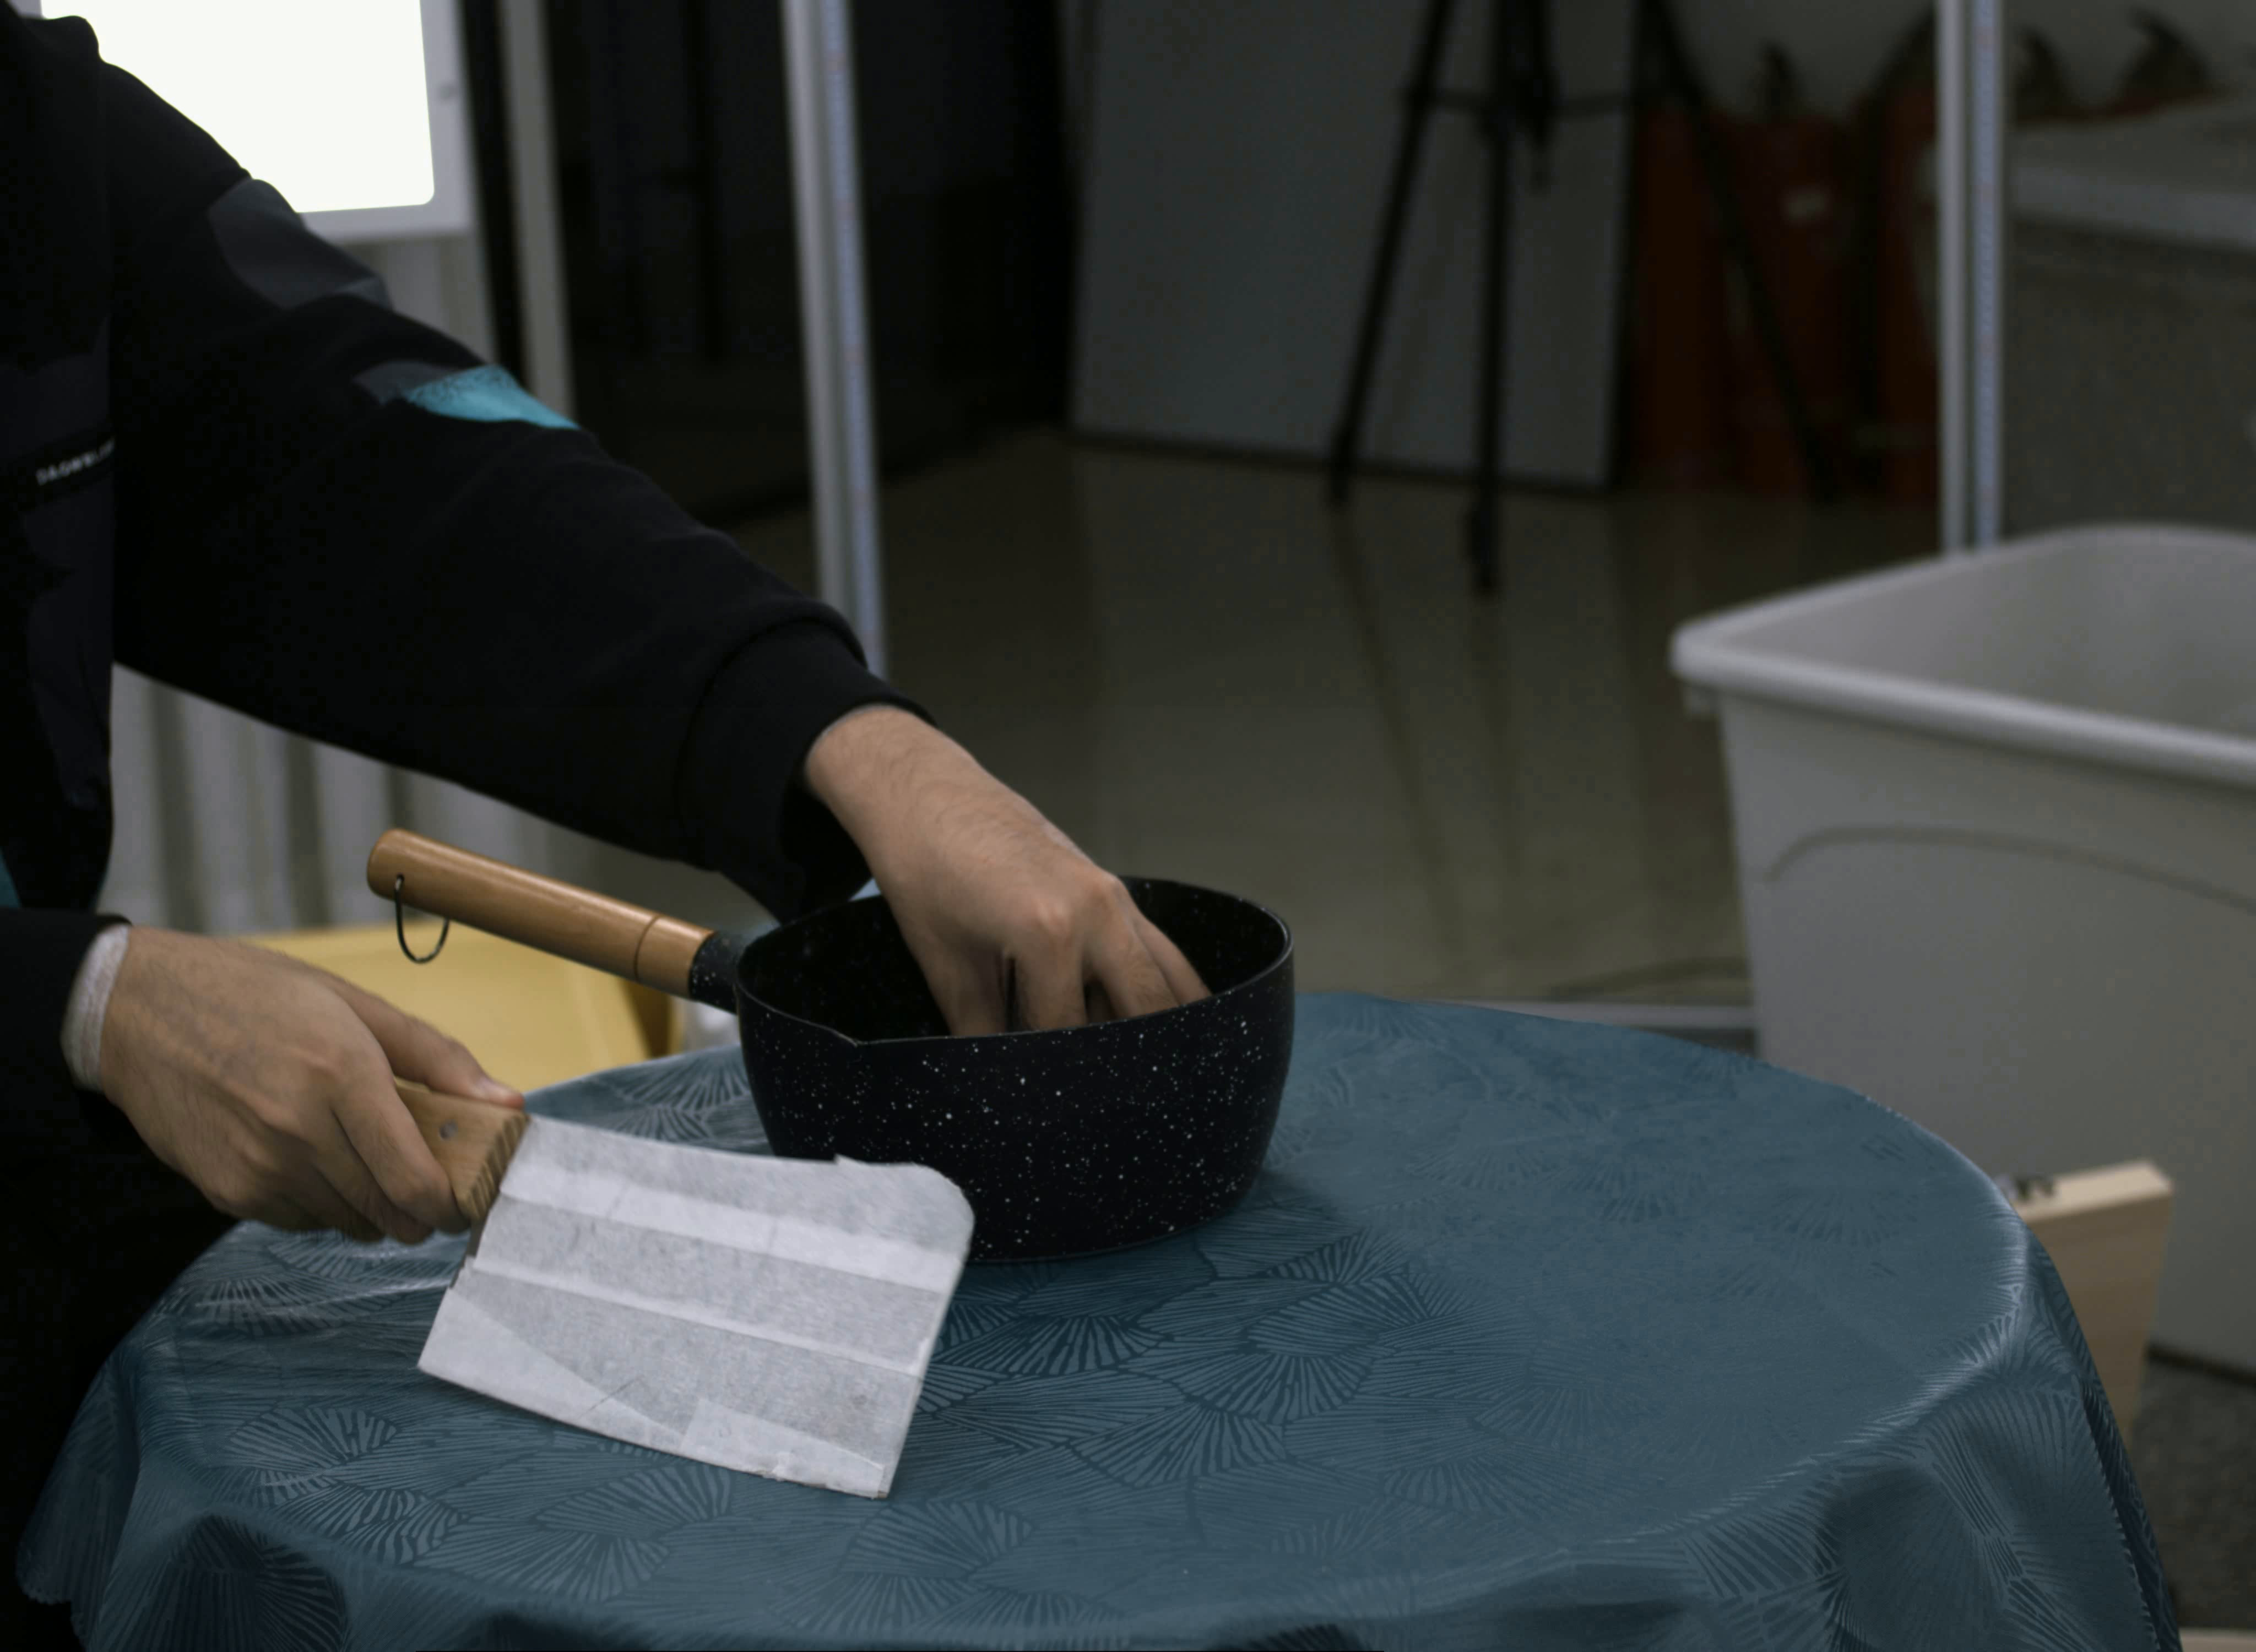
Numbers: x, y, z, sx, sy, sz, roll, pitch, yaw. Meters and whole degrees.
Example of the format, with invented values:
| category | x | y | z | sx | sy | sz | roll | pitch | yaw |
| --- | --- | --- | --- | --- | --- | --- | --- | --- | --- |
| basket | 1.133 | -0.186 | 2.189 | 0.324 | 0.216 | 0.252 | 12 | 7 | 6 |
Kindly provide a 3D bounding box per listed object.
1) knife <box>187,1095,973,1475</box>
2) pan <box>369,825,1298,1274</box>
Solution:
| category | x | y | z | sx | sy | sz | roll | pitch | yaw |
| --- | --- | --- | --- | --- | --- | --- | --- | --- | --- |
| knife | -0.170 | 0.124 | 1.624 | 0.318 | 0.114 | 0.021 | 12 | -21 | 39 |
| pan | -0.106 | 0.066 | 1.798 | 0.343 | 0.109 | 0.205 | 4 | 17 | 26 |
